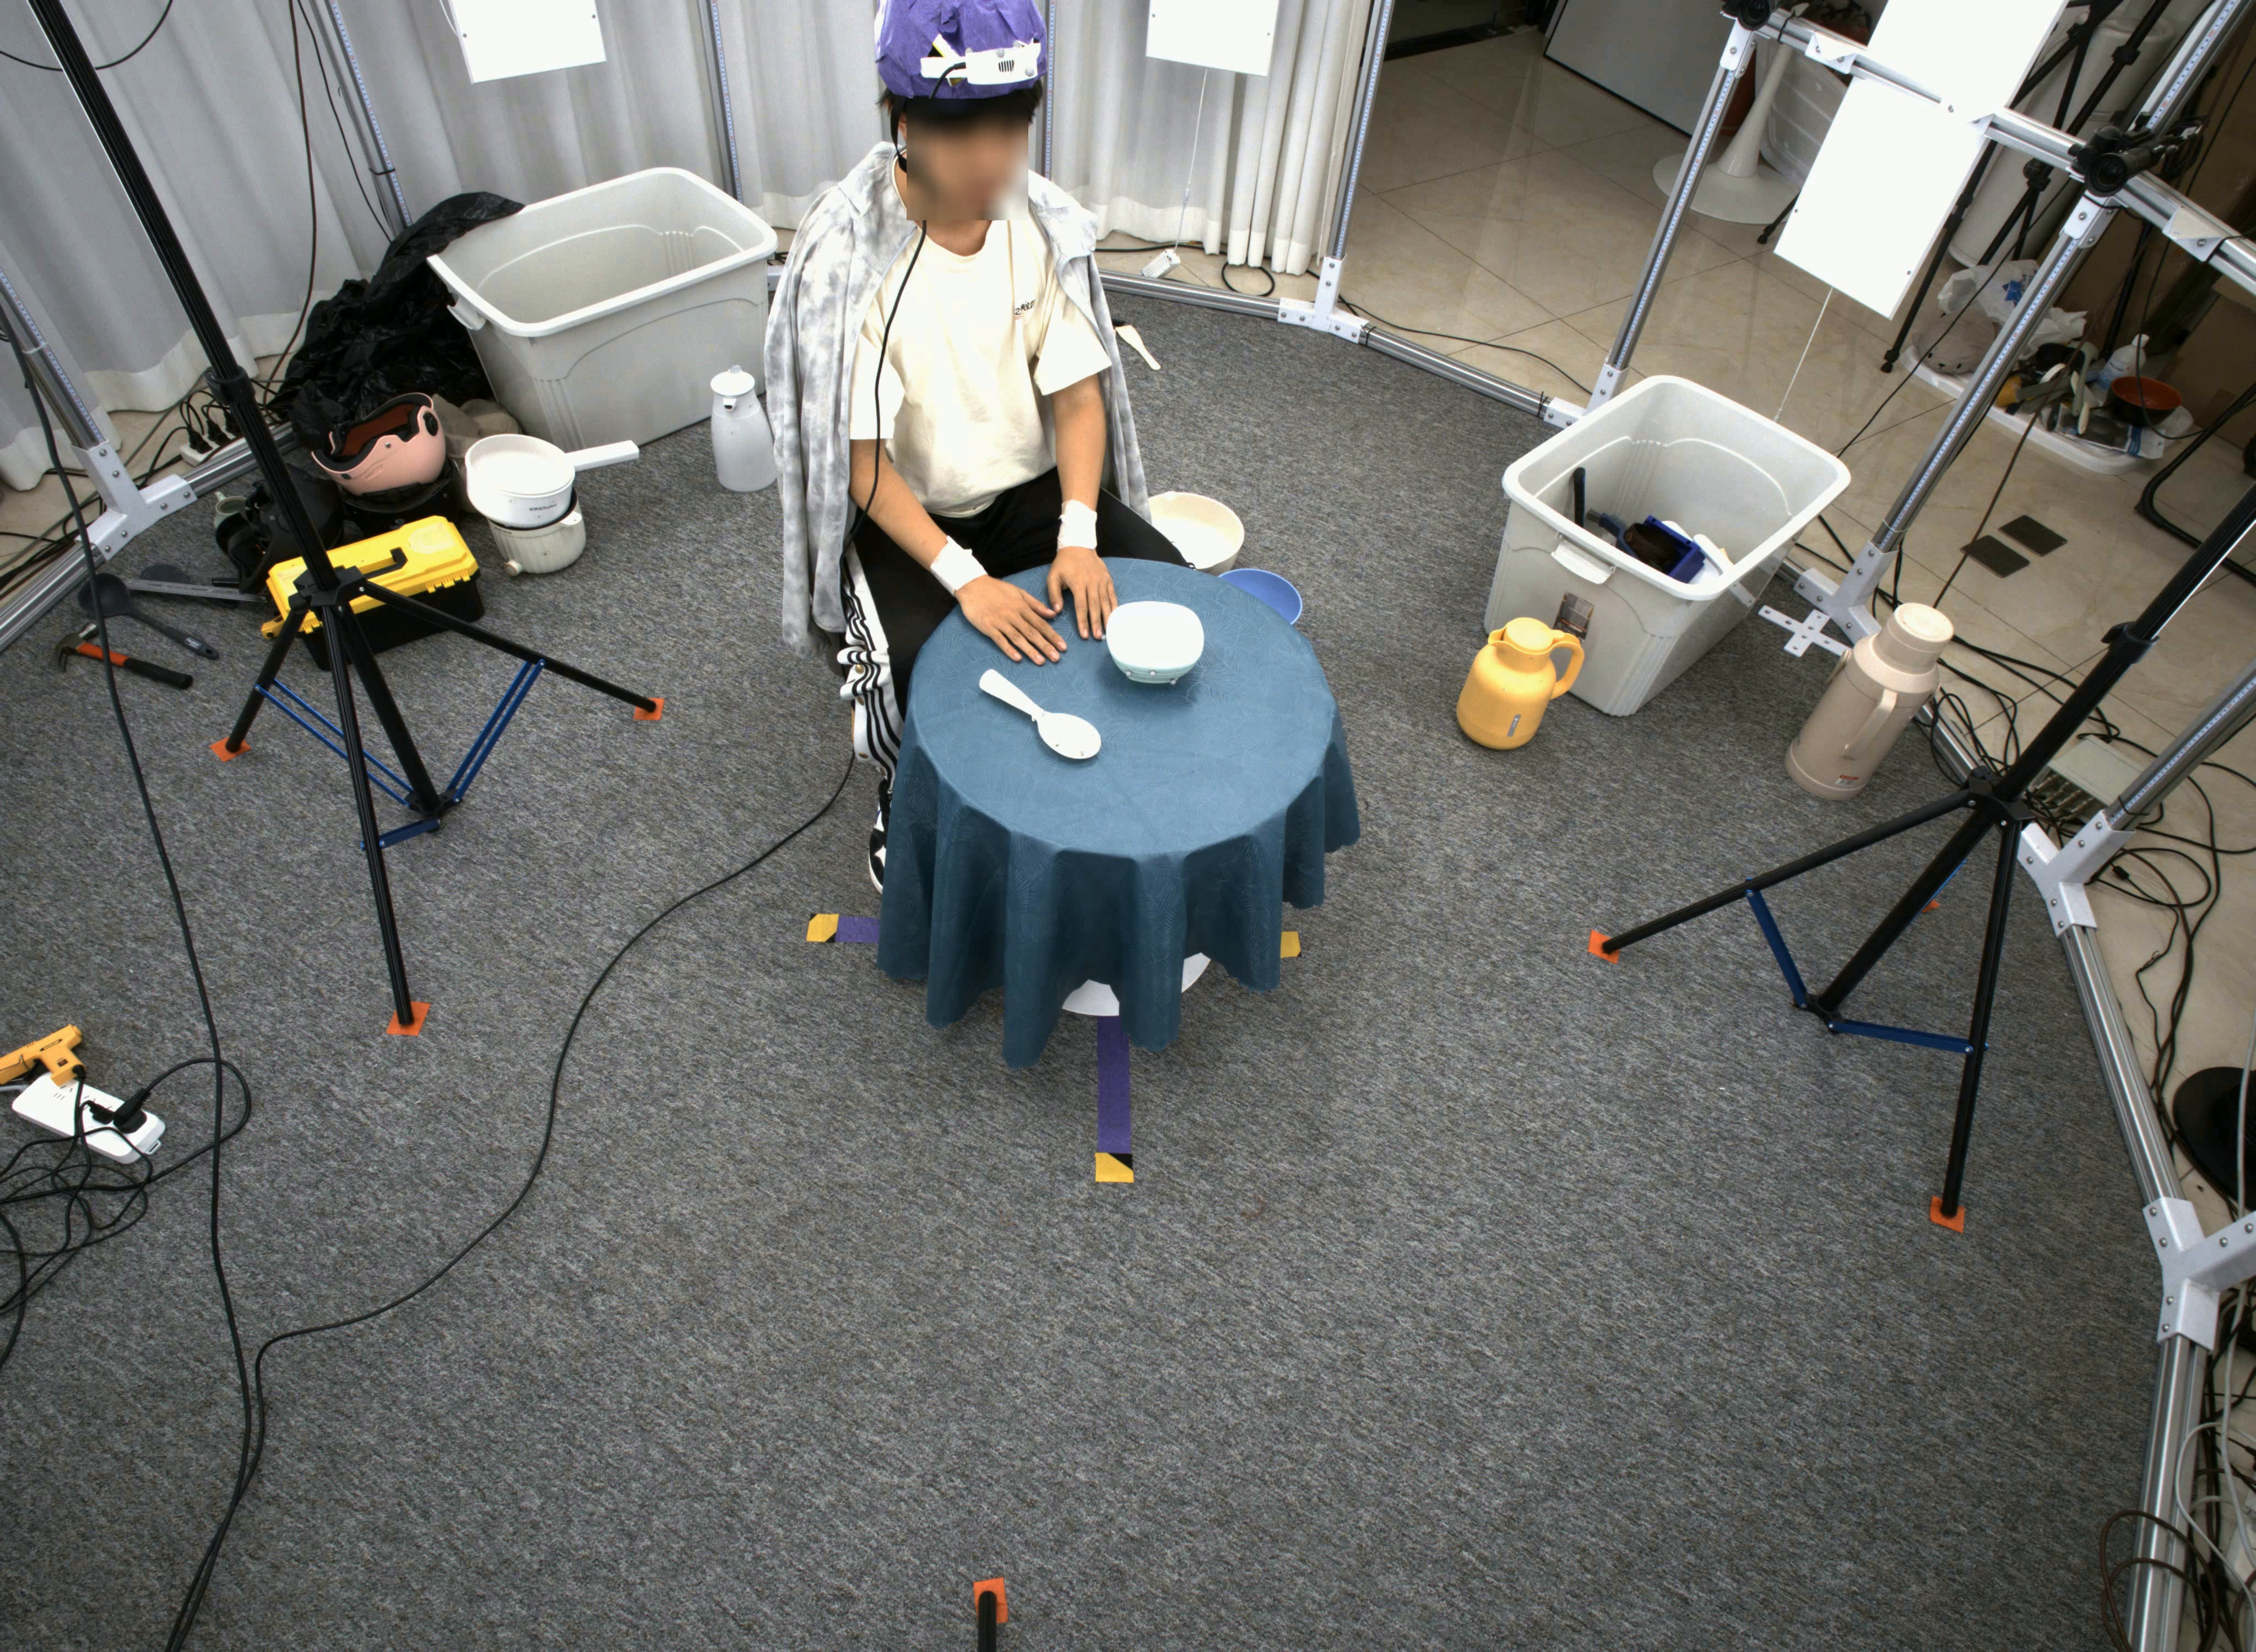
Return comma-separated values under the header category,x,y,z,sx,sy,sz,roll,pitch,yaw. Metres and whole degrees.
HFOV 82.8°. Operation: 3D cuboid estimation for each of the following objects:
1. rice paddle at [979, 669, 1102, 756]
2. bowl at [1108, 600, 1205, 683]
category,x,y,z,sx,sy,sz,roll,pitch,yaw
rice paddle,-0.120,-0.156,1.768,0.208,0.029,0.069,34,57,24
bowl,0.040,-0.257,1.848,0.151,0.057,0.155,0,52,-1
